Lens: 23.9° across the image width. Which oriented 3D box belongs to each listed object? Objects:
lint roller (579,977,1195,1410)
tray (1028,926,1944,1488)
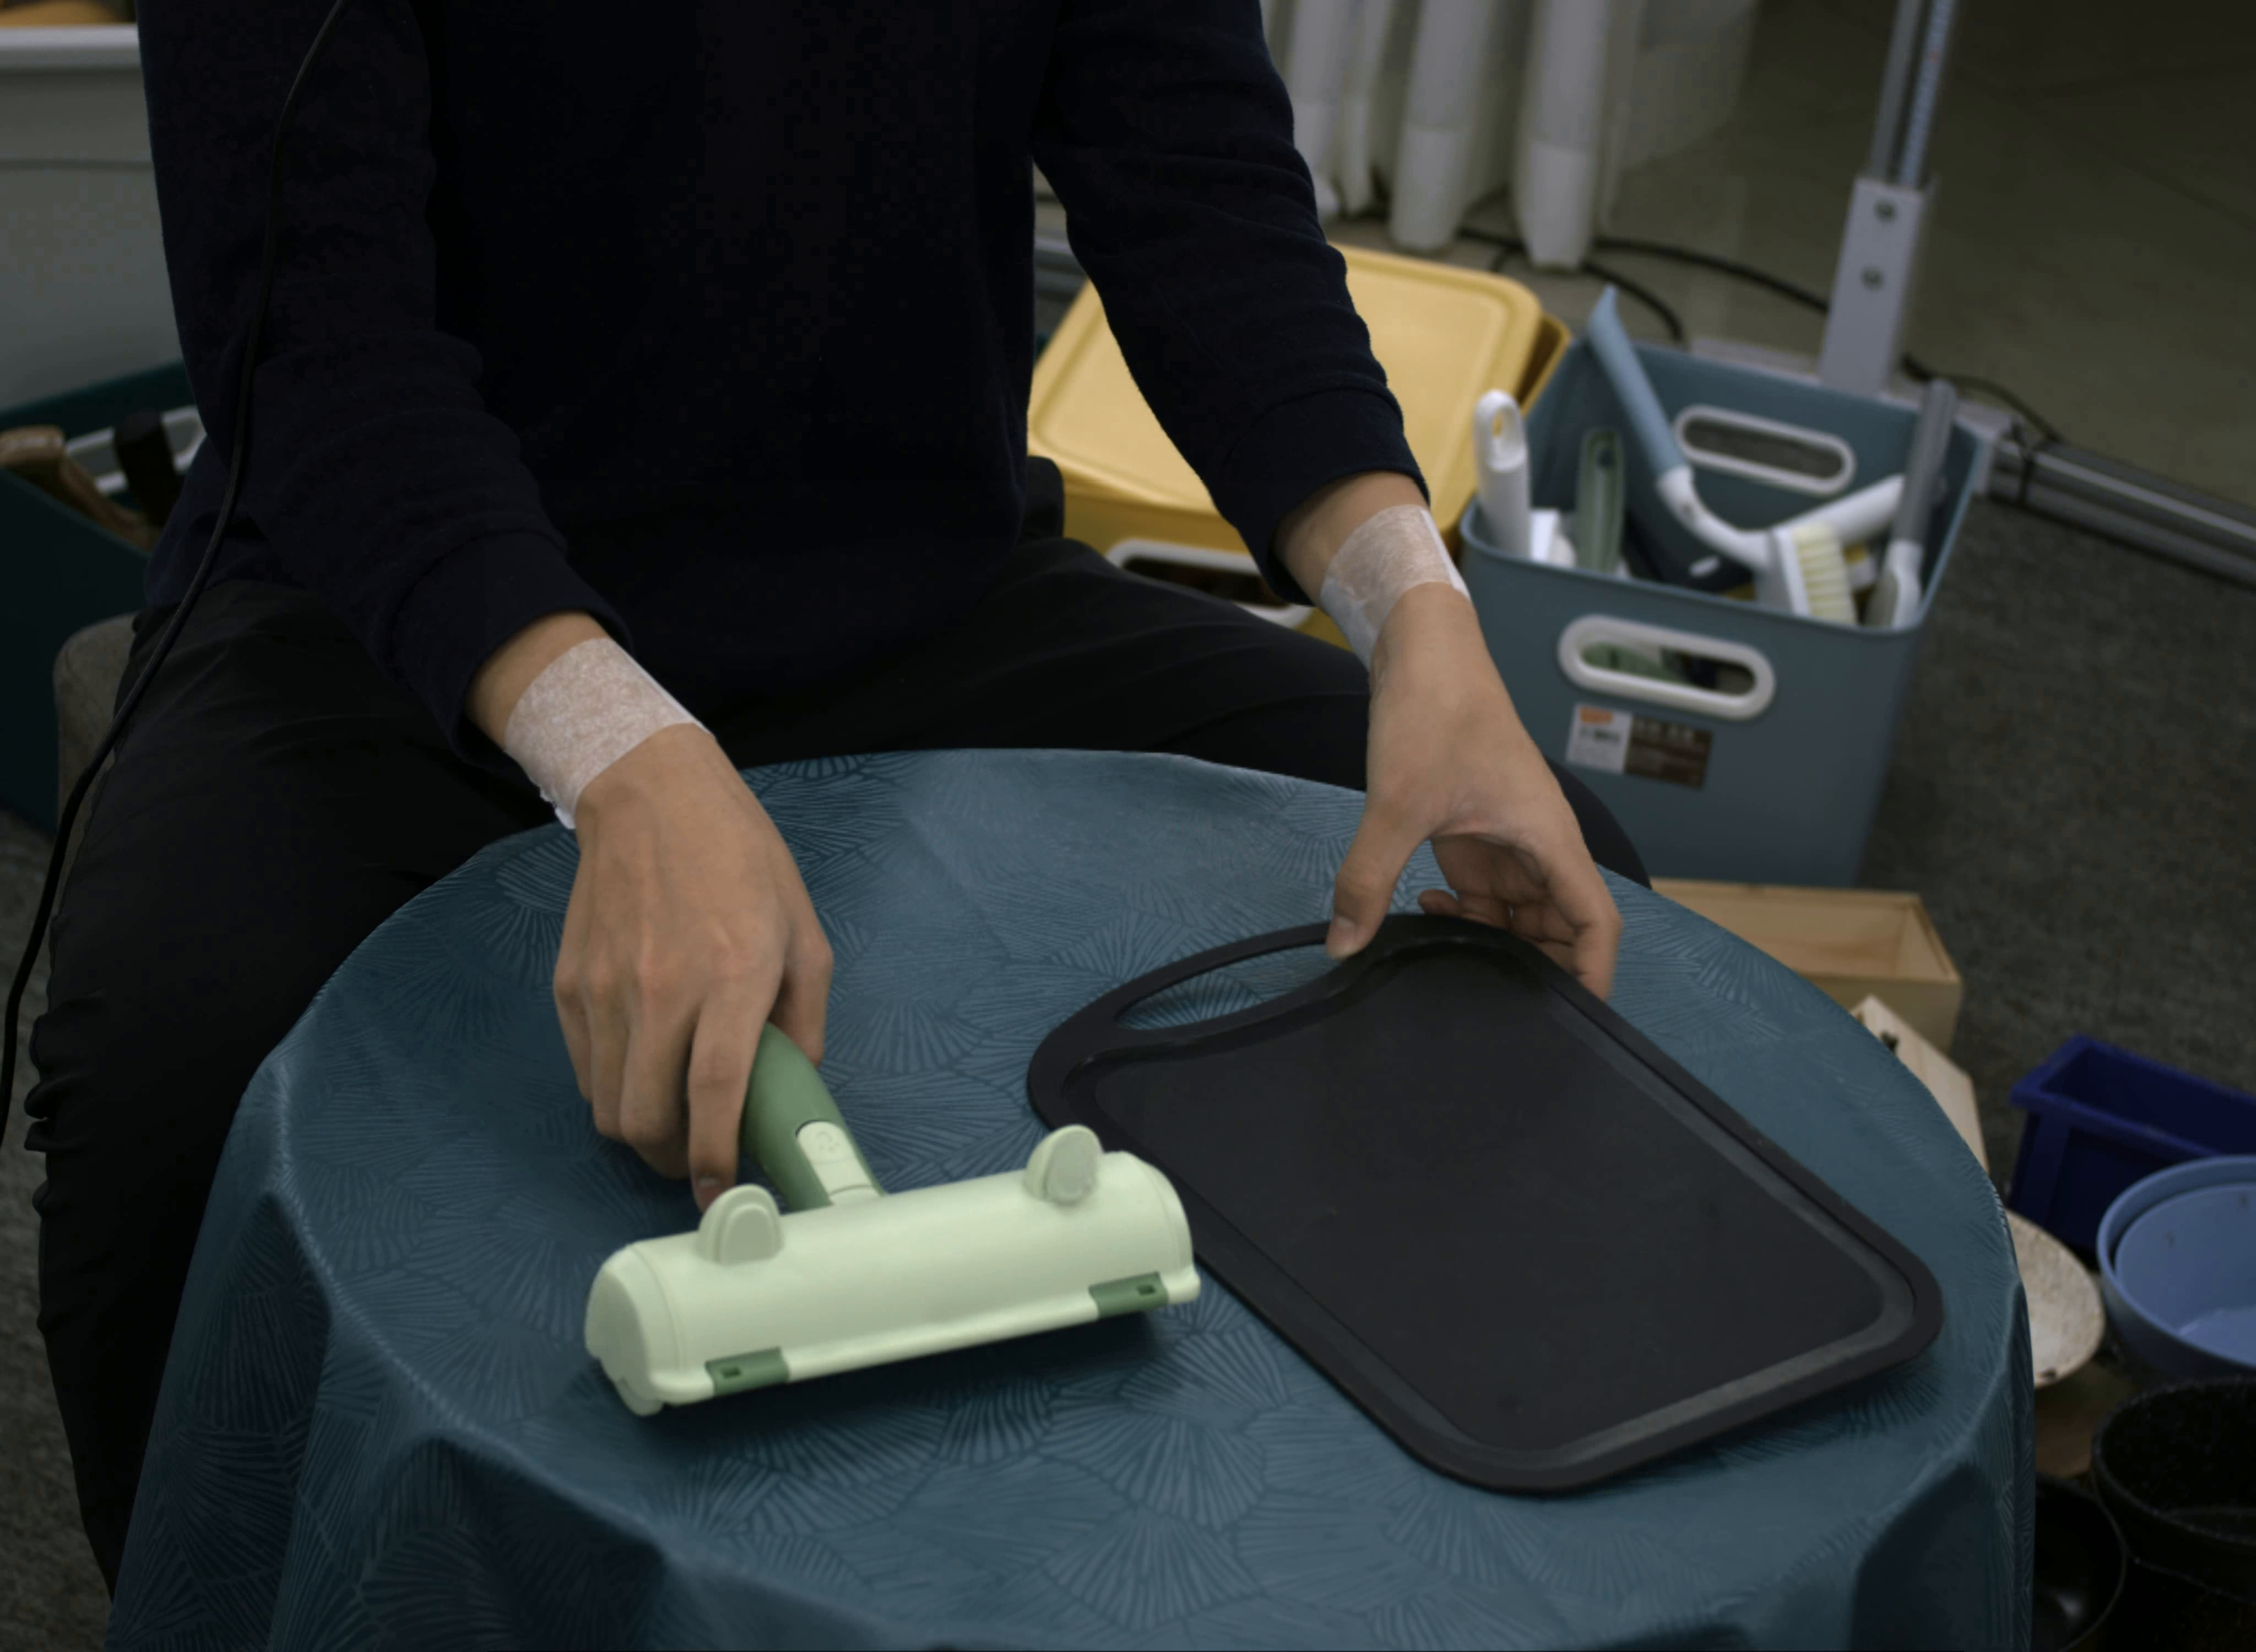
[{"bbox_3d":[-0.097,0.098,1.714,0.197,0.082,0.185,-9,51,-29],"label":"lint roller"},{"bbox_3d":[0.111,0.118,1.812,0.210,0.010,0.328,-16,35,-28],"label":"tray"}]
